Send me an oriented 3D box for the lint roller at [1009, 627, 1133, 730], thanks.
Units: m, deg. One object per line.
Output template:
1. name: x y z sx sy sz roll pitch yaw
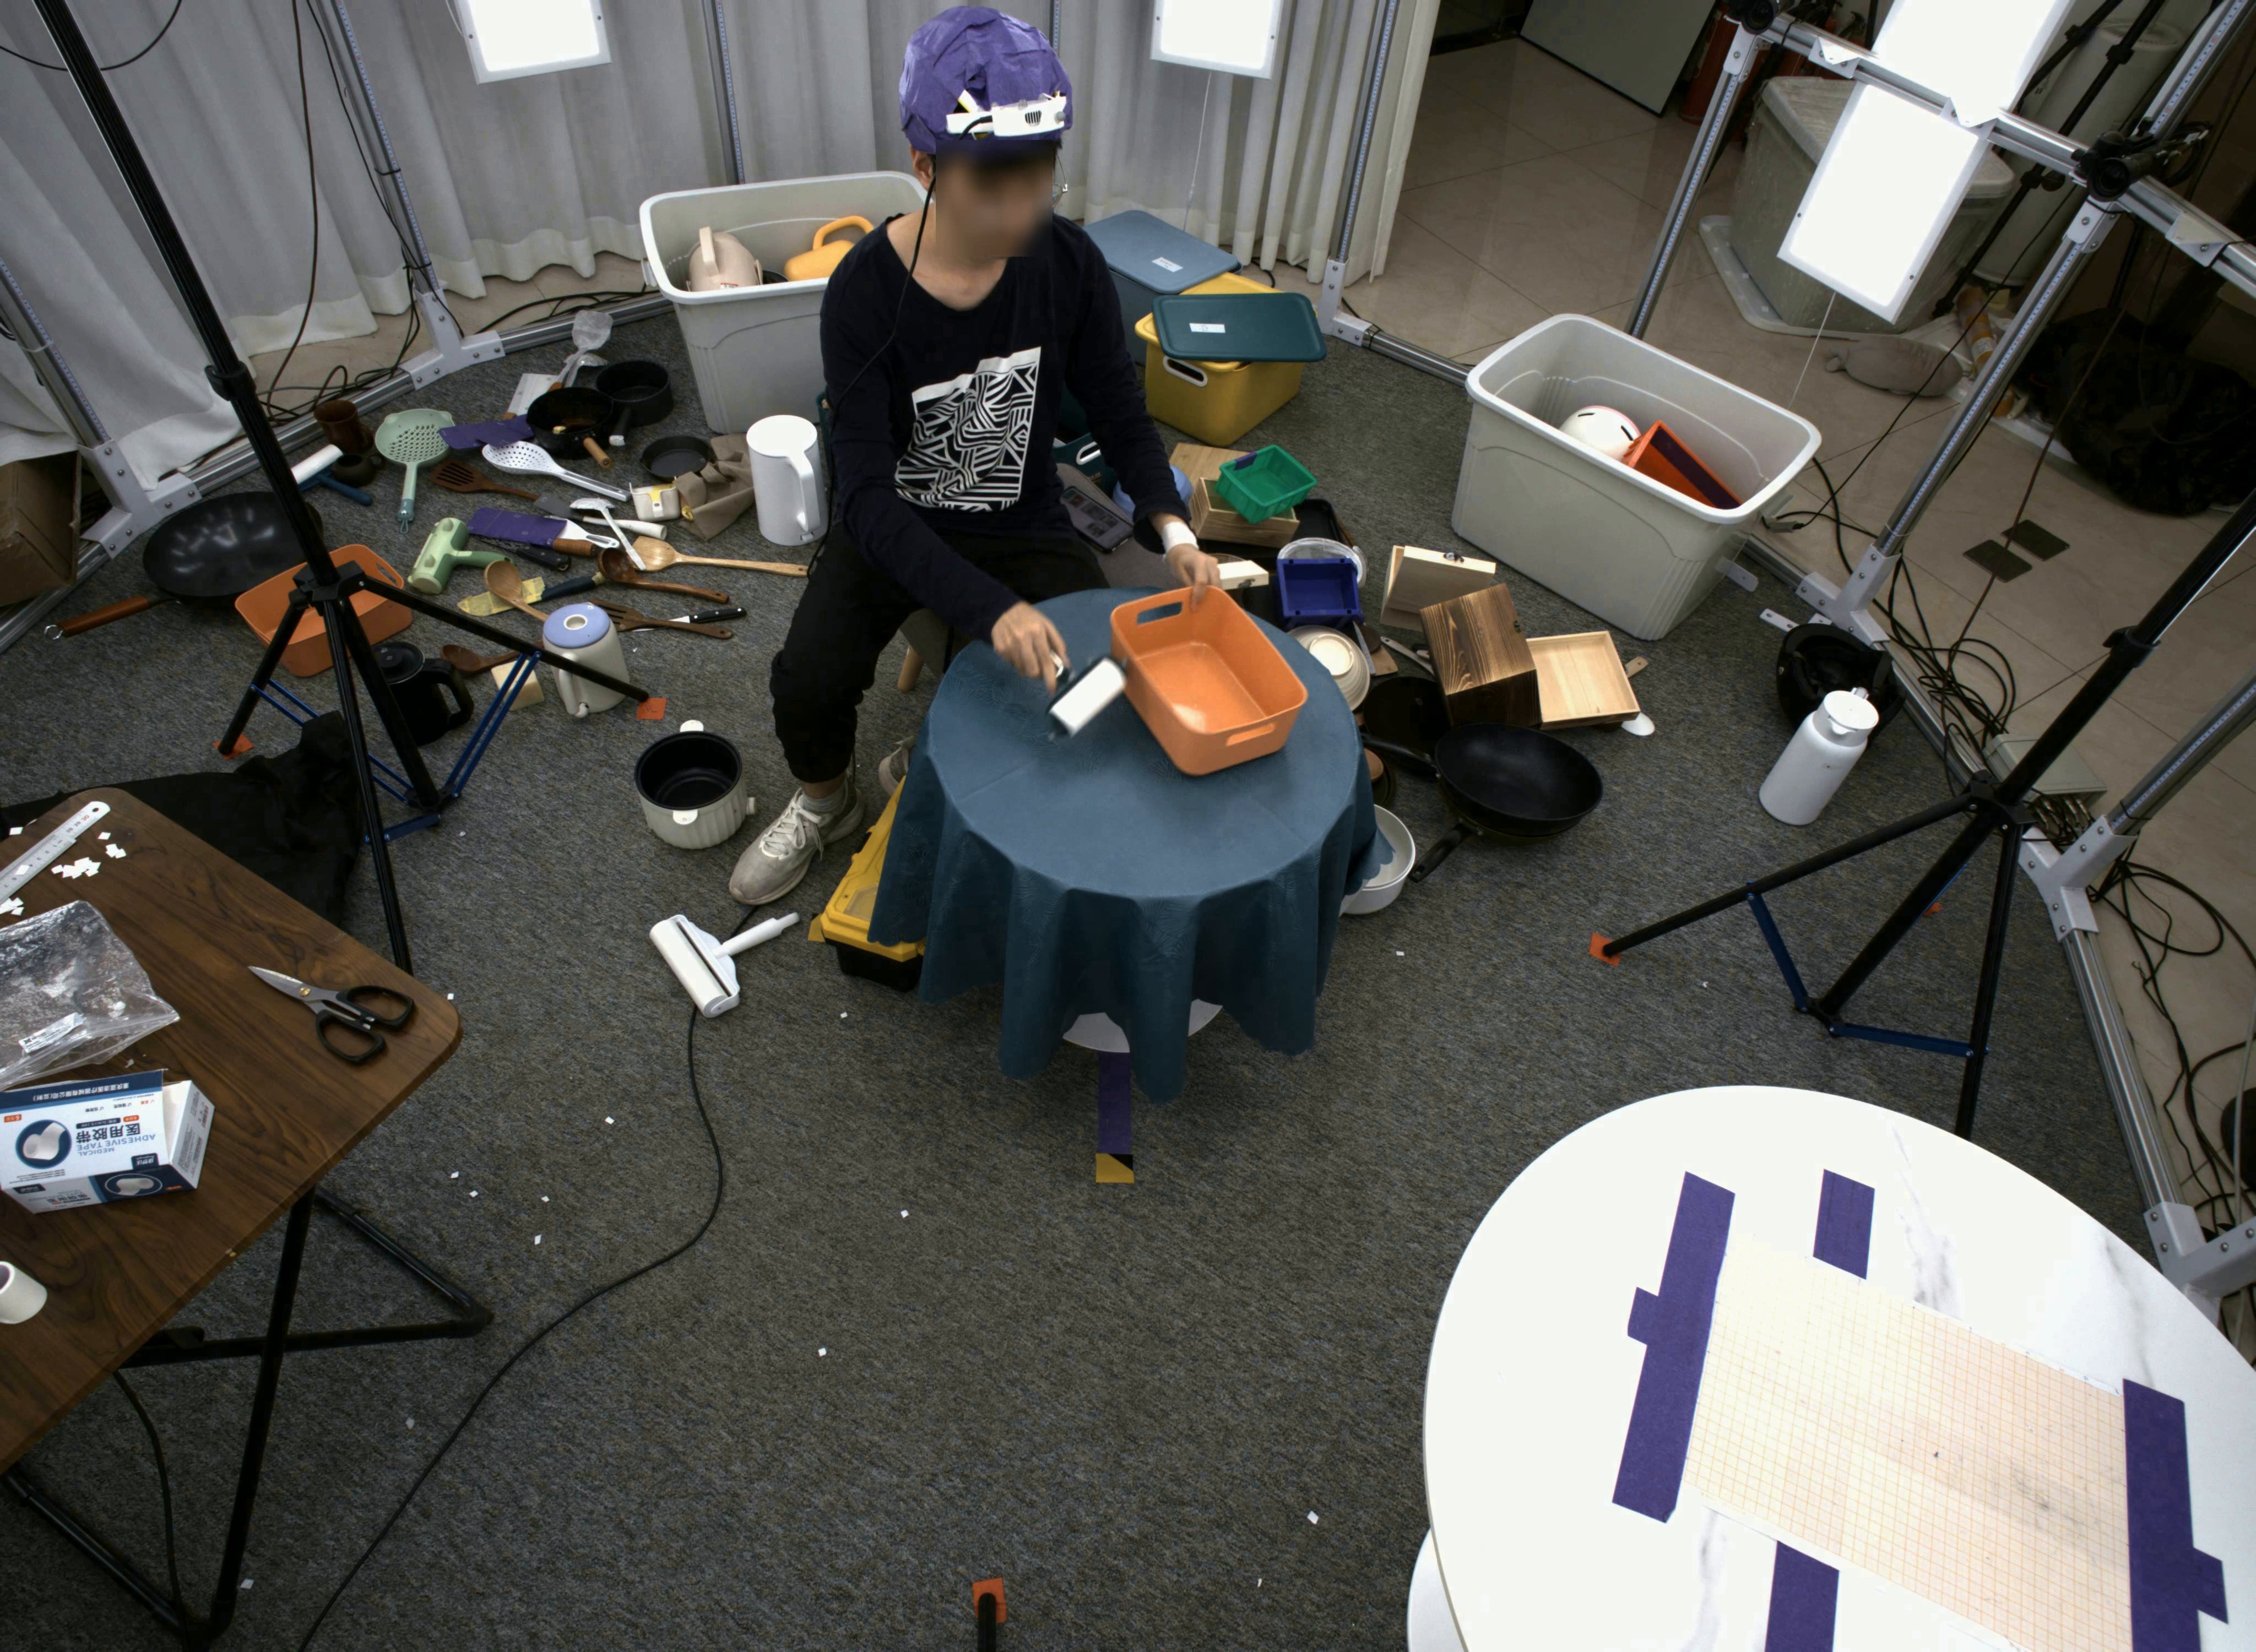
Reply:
1. lint roller: -0.097 -0.224 1.738 0.182 0.047 0.135 40 78 19

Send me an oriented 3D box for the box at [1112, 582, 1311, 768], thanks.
1. box: 0.103 -0.207 1.772 0.199 0.100 0.279 -16 52 -26
